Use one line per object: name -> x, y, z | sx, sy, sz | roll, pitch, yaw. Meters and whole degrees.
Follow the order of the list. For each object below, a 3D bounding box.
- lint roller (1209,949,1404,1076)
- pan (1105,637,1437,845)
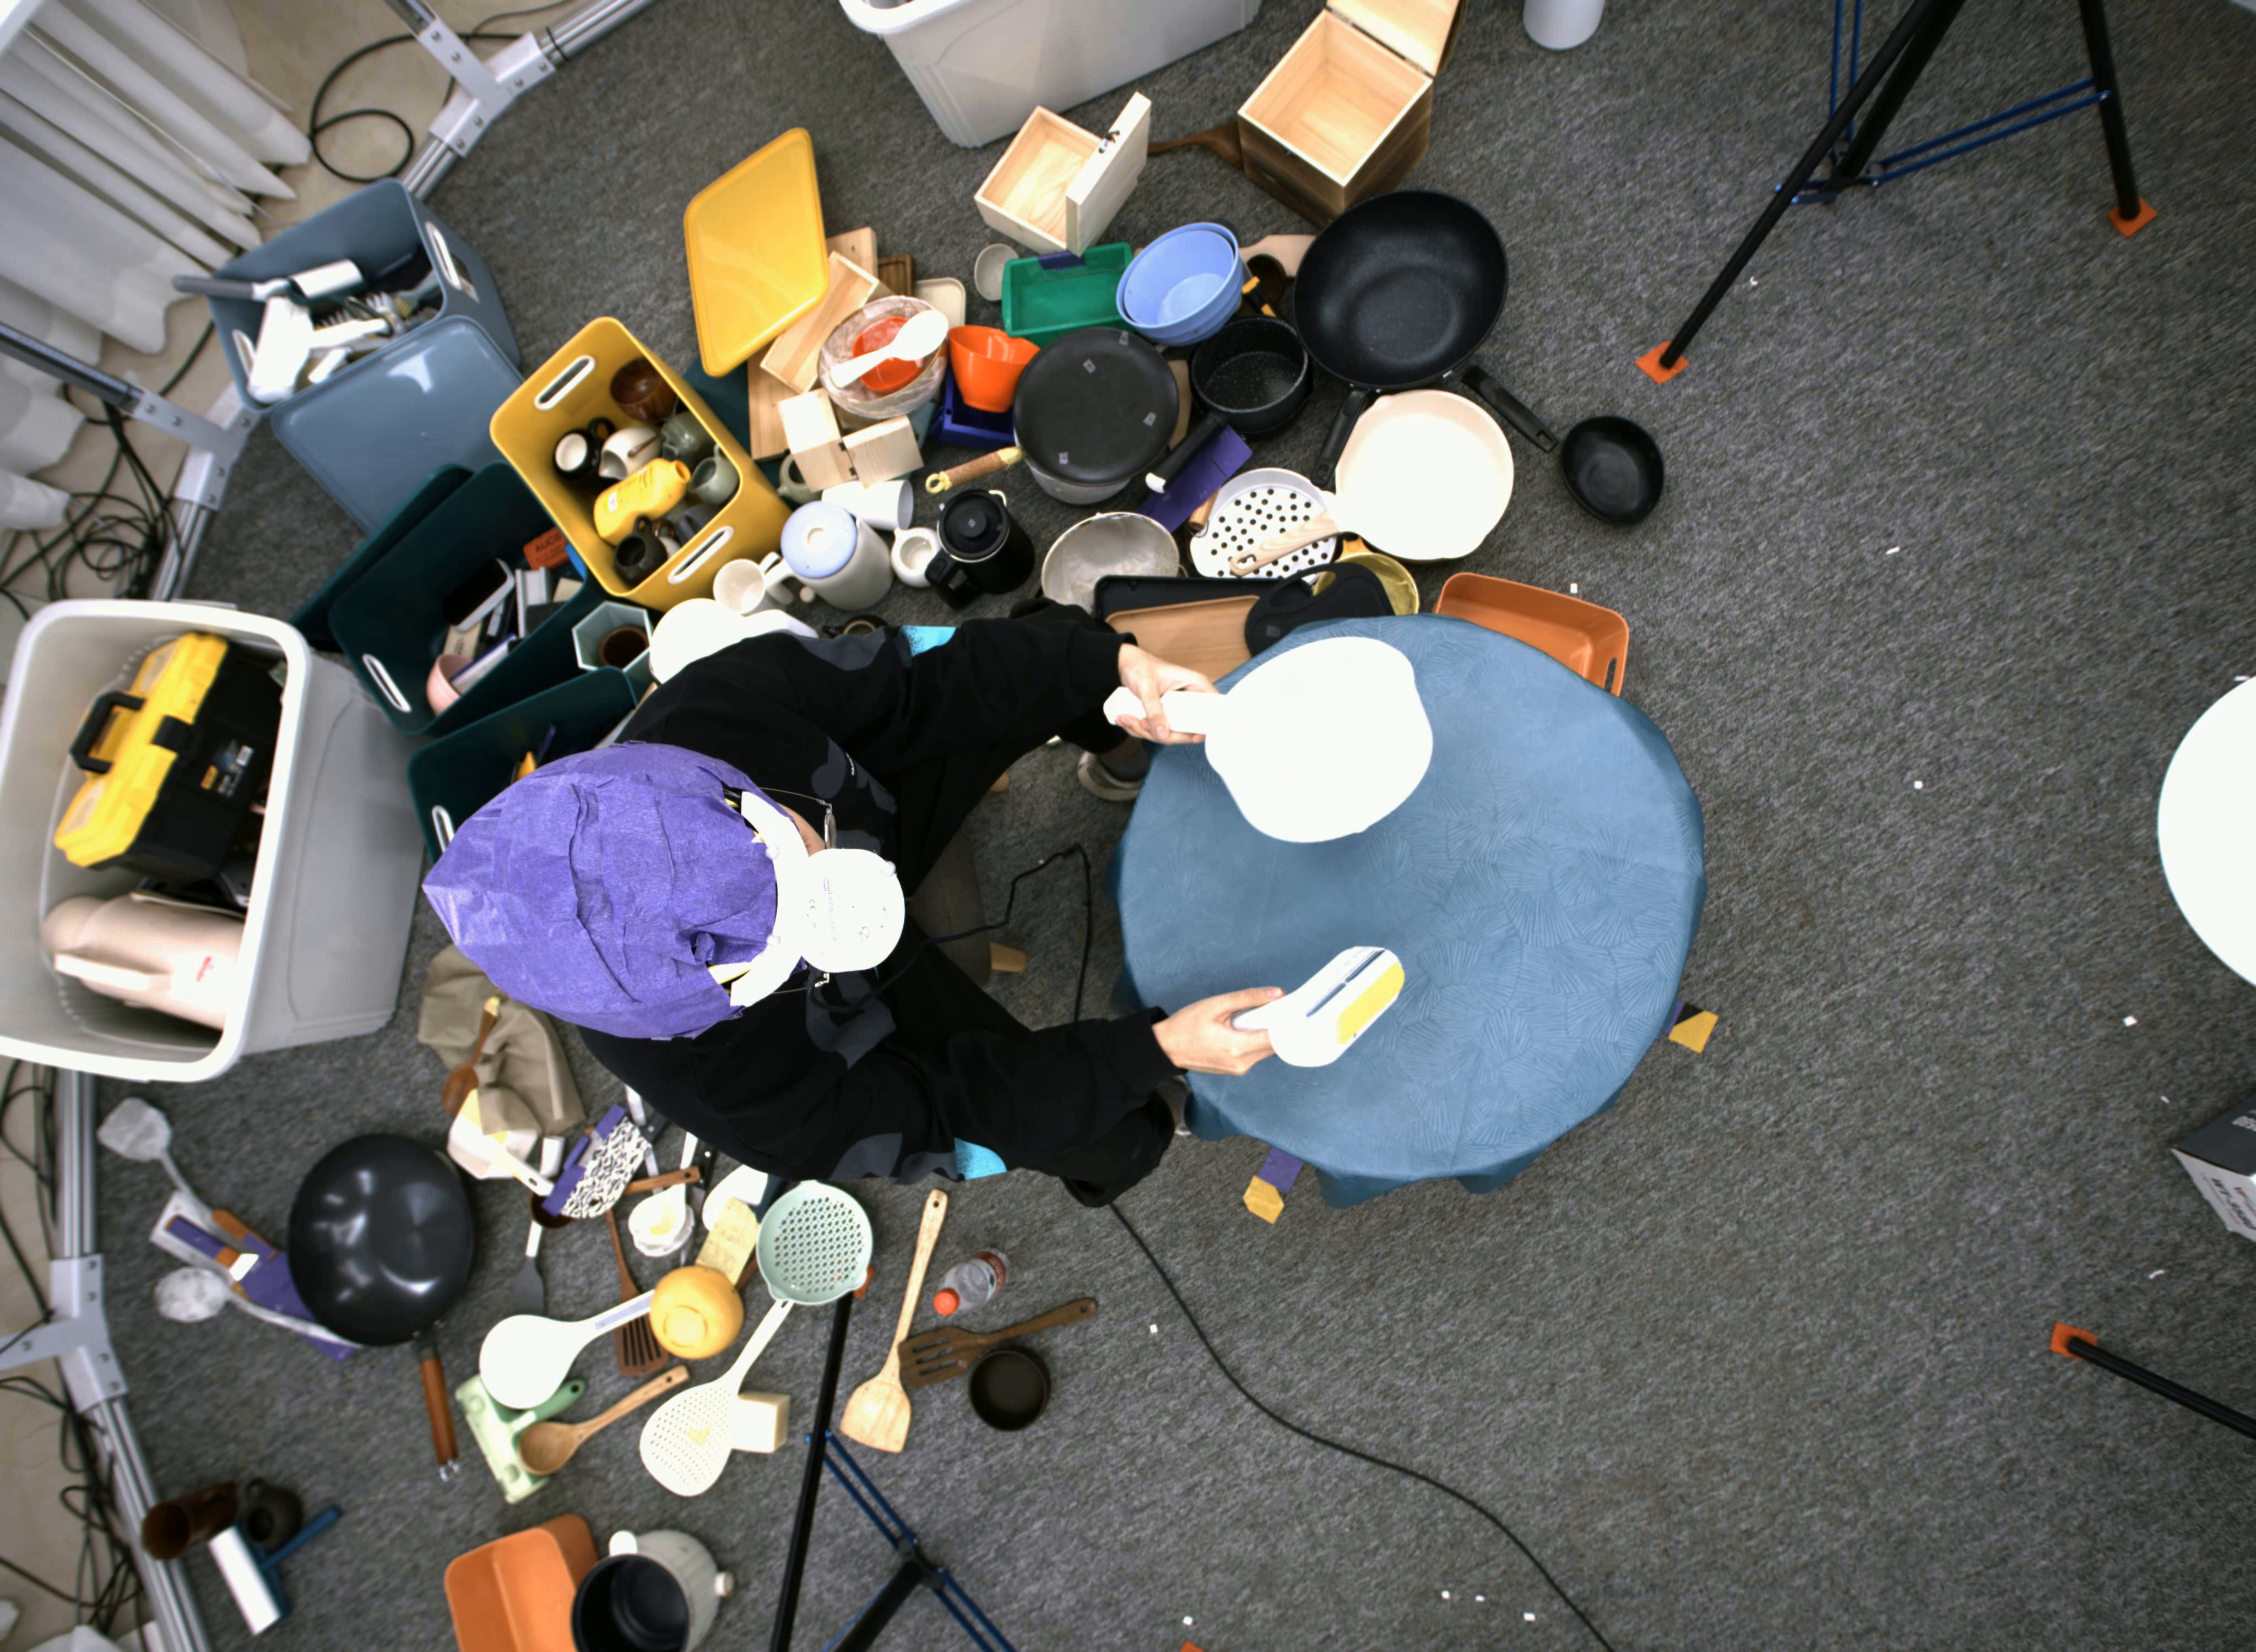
lint roller -> 0.154, 0.181, 1.342 | 0.194, 0.189, 0.075 | -5, 111, 41
pan -> 0.131, -0.082, 1.341 | 0.356, 0.104, 0.197 | 7, 53, 44
